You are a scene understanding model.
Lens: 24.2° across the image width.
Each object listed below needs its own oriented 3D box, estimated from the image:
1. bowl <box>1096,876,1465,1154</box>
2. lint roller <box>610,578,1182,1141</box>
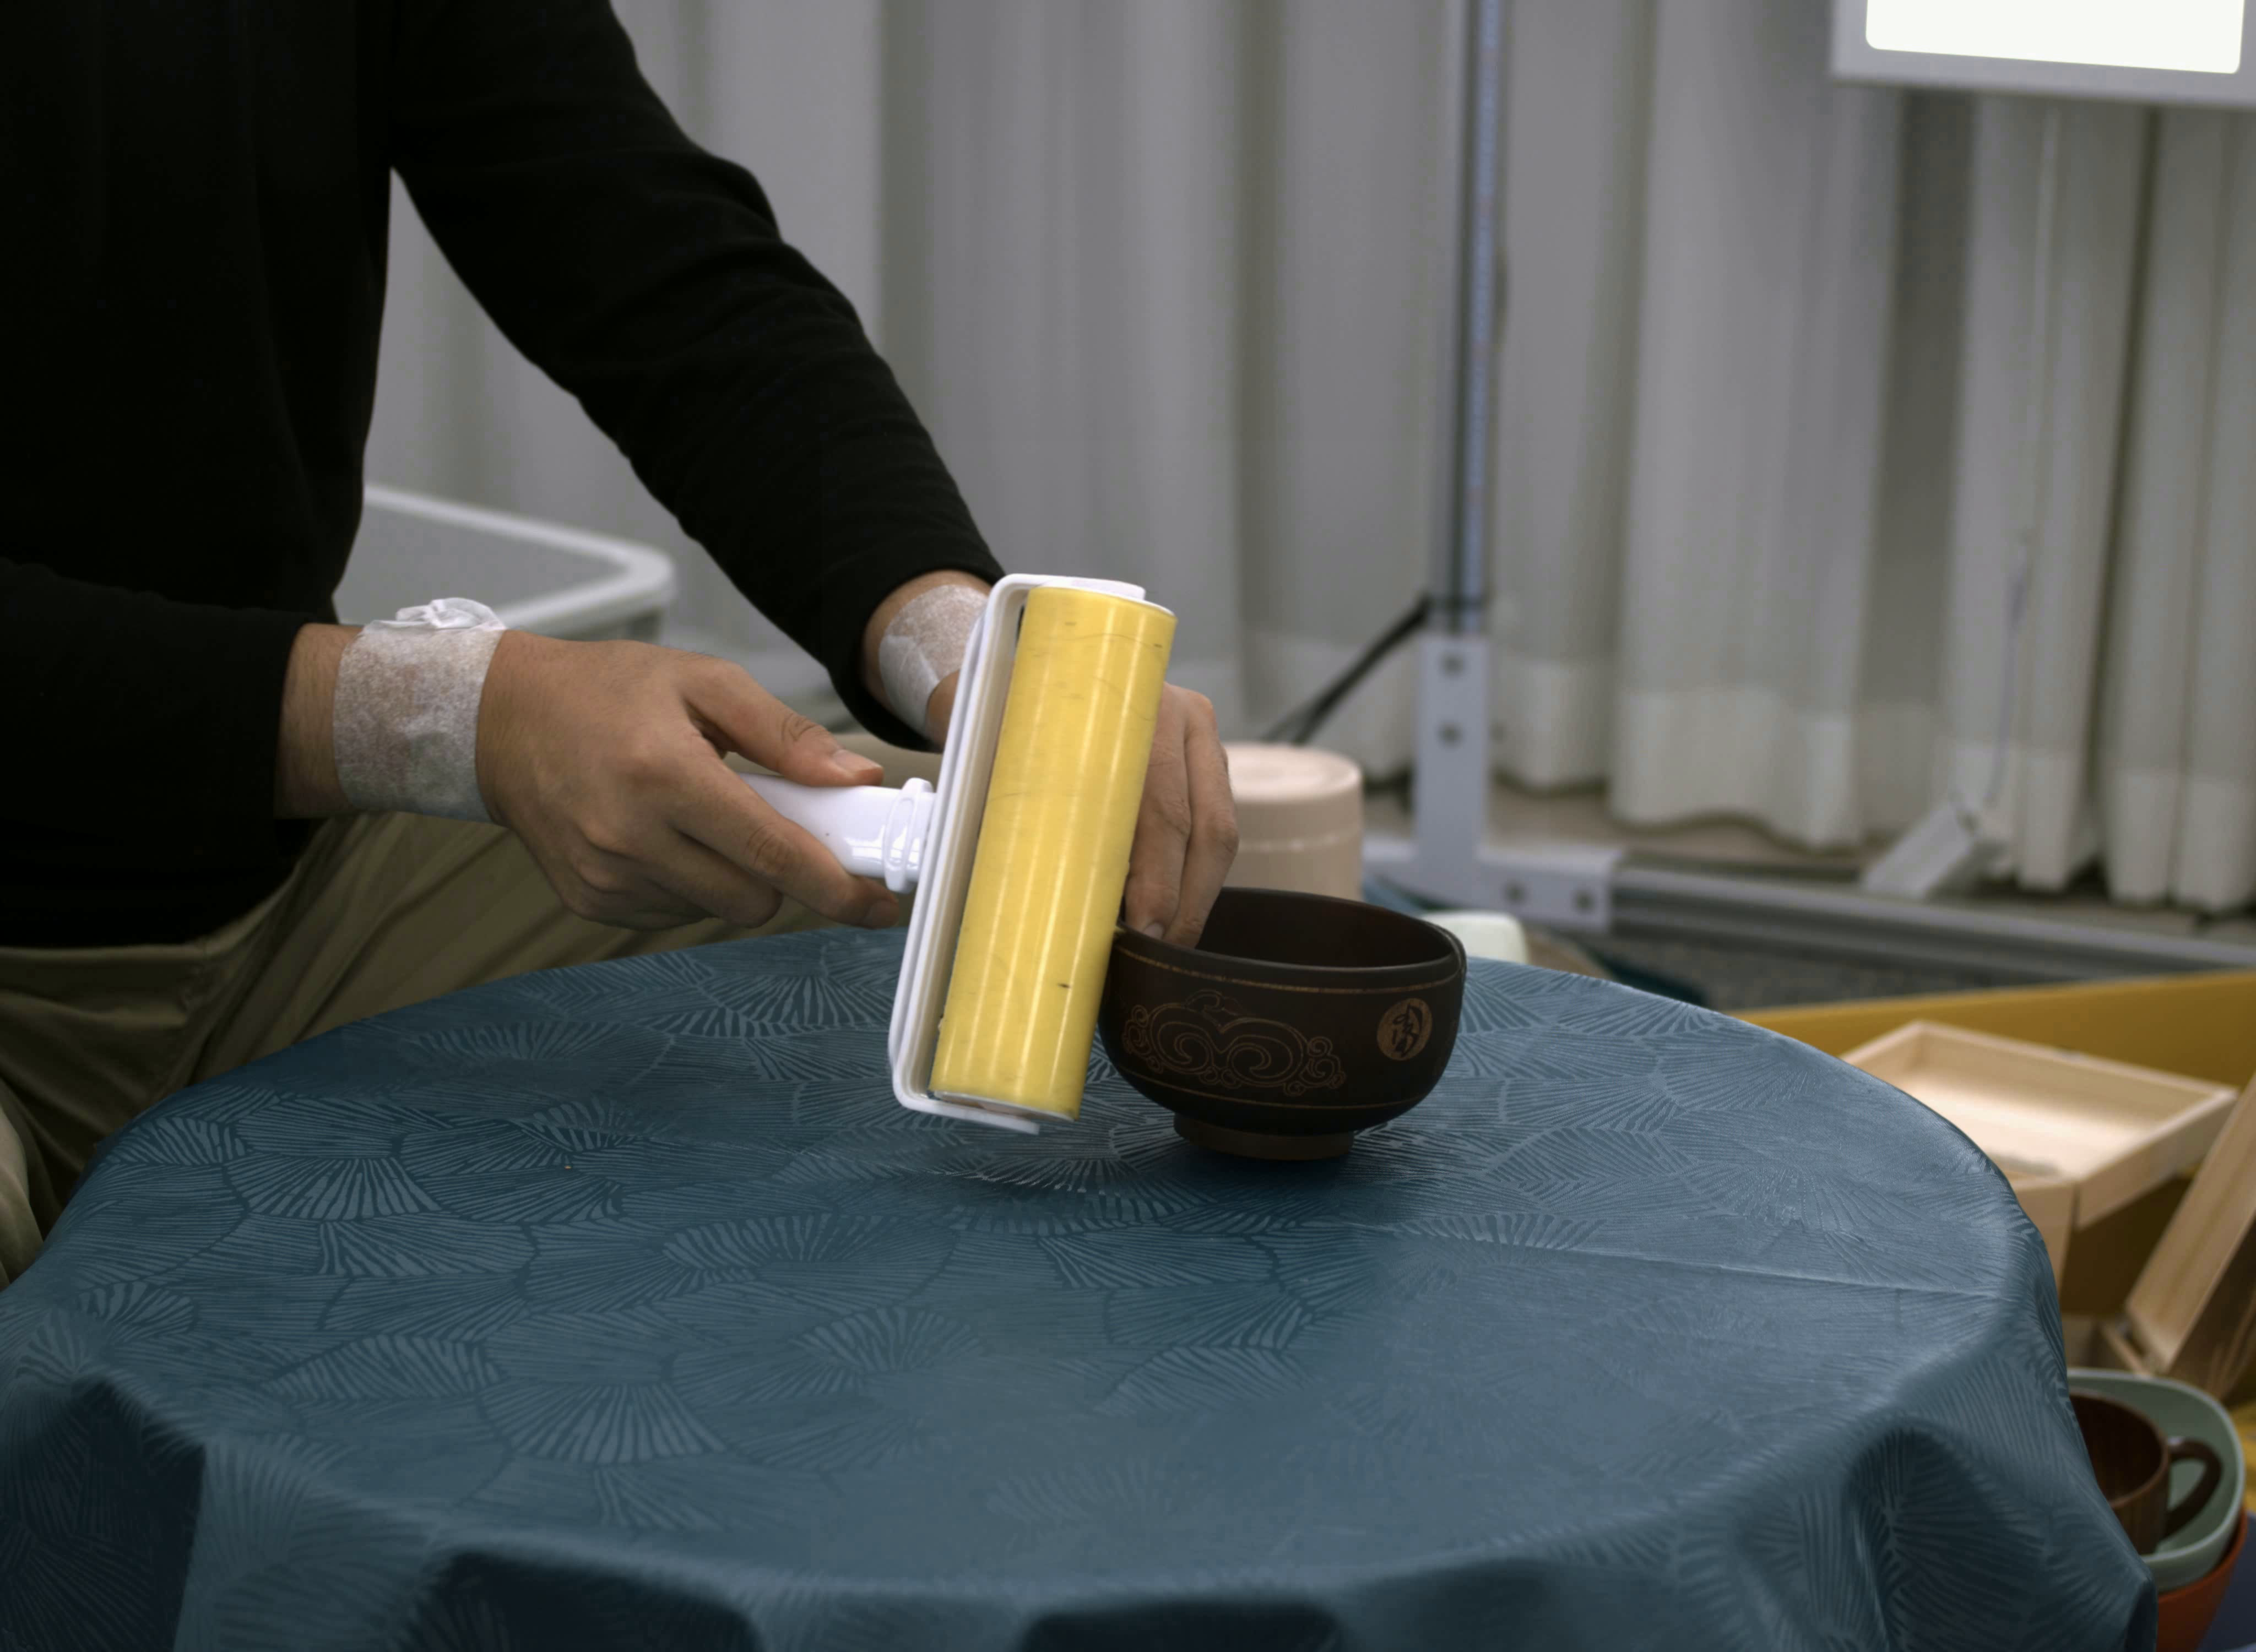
[{"bbox_3d":[0.045,0.062,1.653,0.117,0.070,0.117,7,11,-1],"label":"bowl"},{"bbox_3d":[-0.085,0.003,1.650,0.190,0.174,0.052,7,-8,21],"label":"lint roller"}]
